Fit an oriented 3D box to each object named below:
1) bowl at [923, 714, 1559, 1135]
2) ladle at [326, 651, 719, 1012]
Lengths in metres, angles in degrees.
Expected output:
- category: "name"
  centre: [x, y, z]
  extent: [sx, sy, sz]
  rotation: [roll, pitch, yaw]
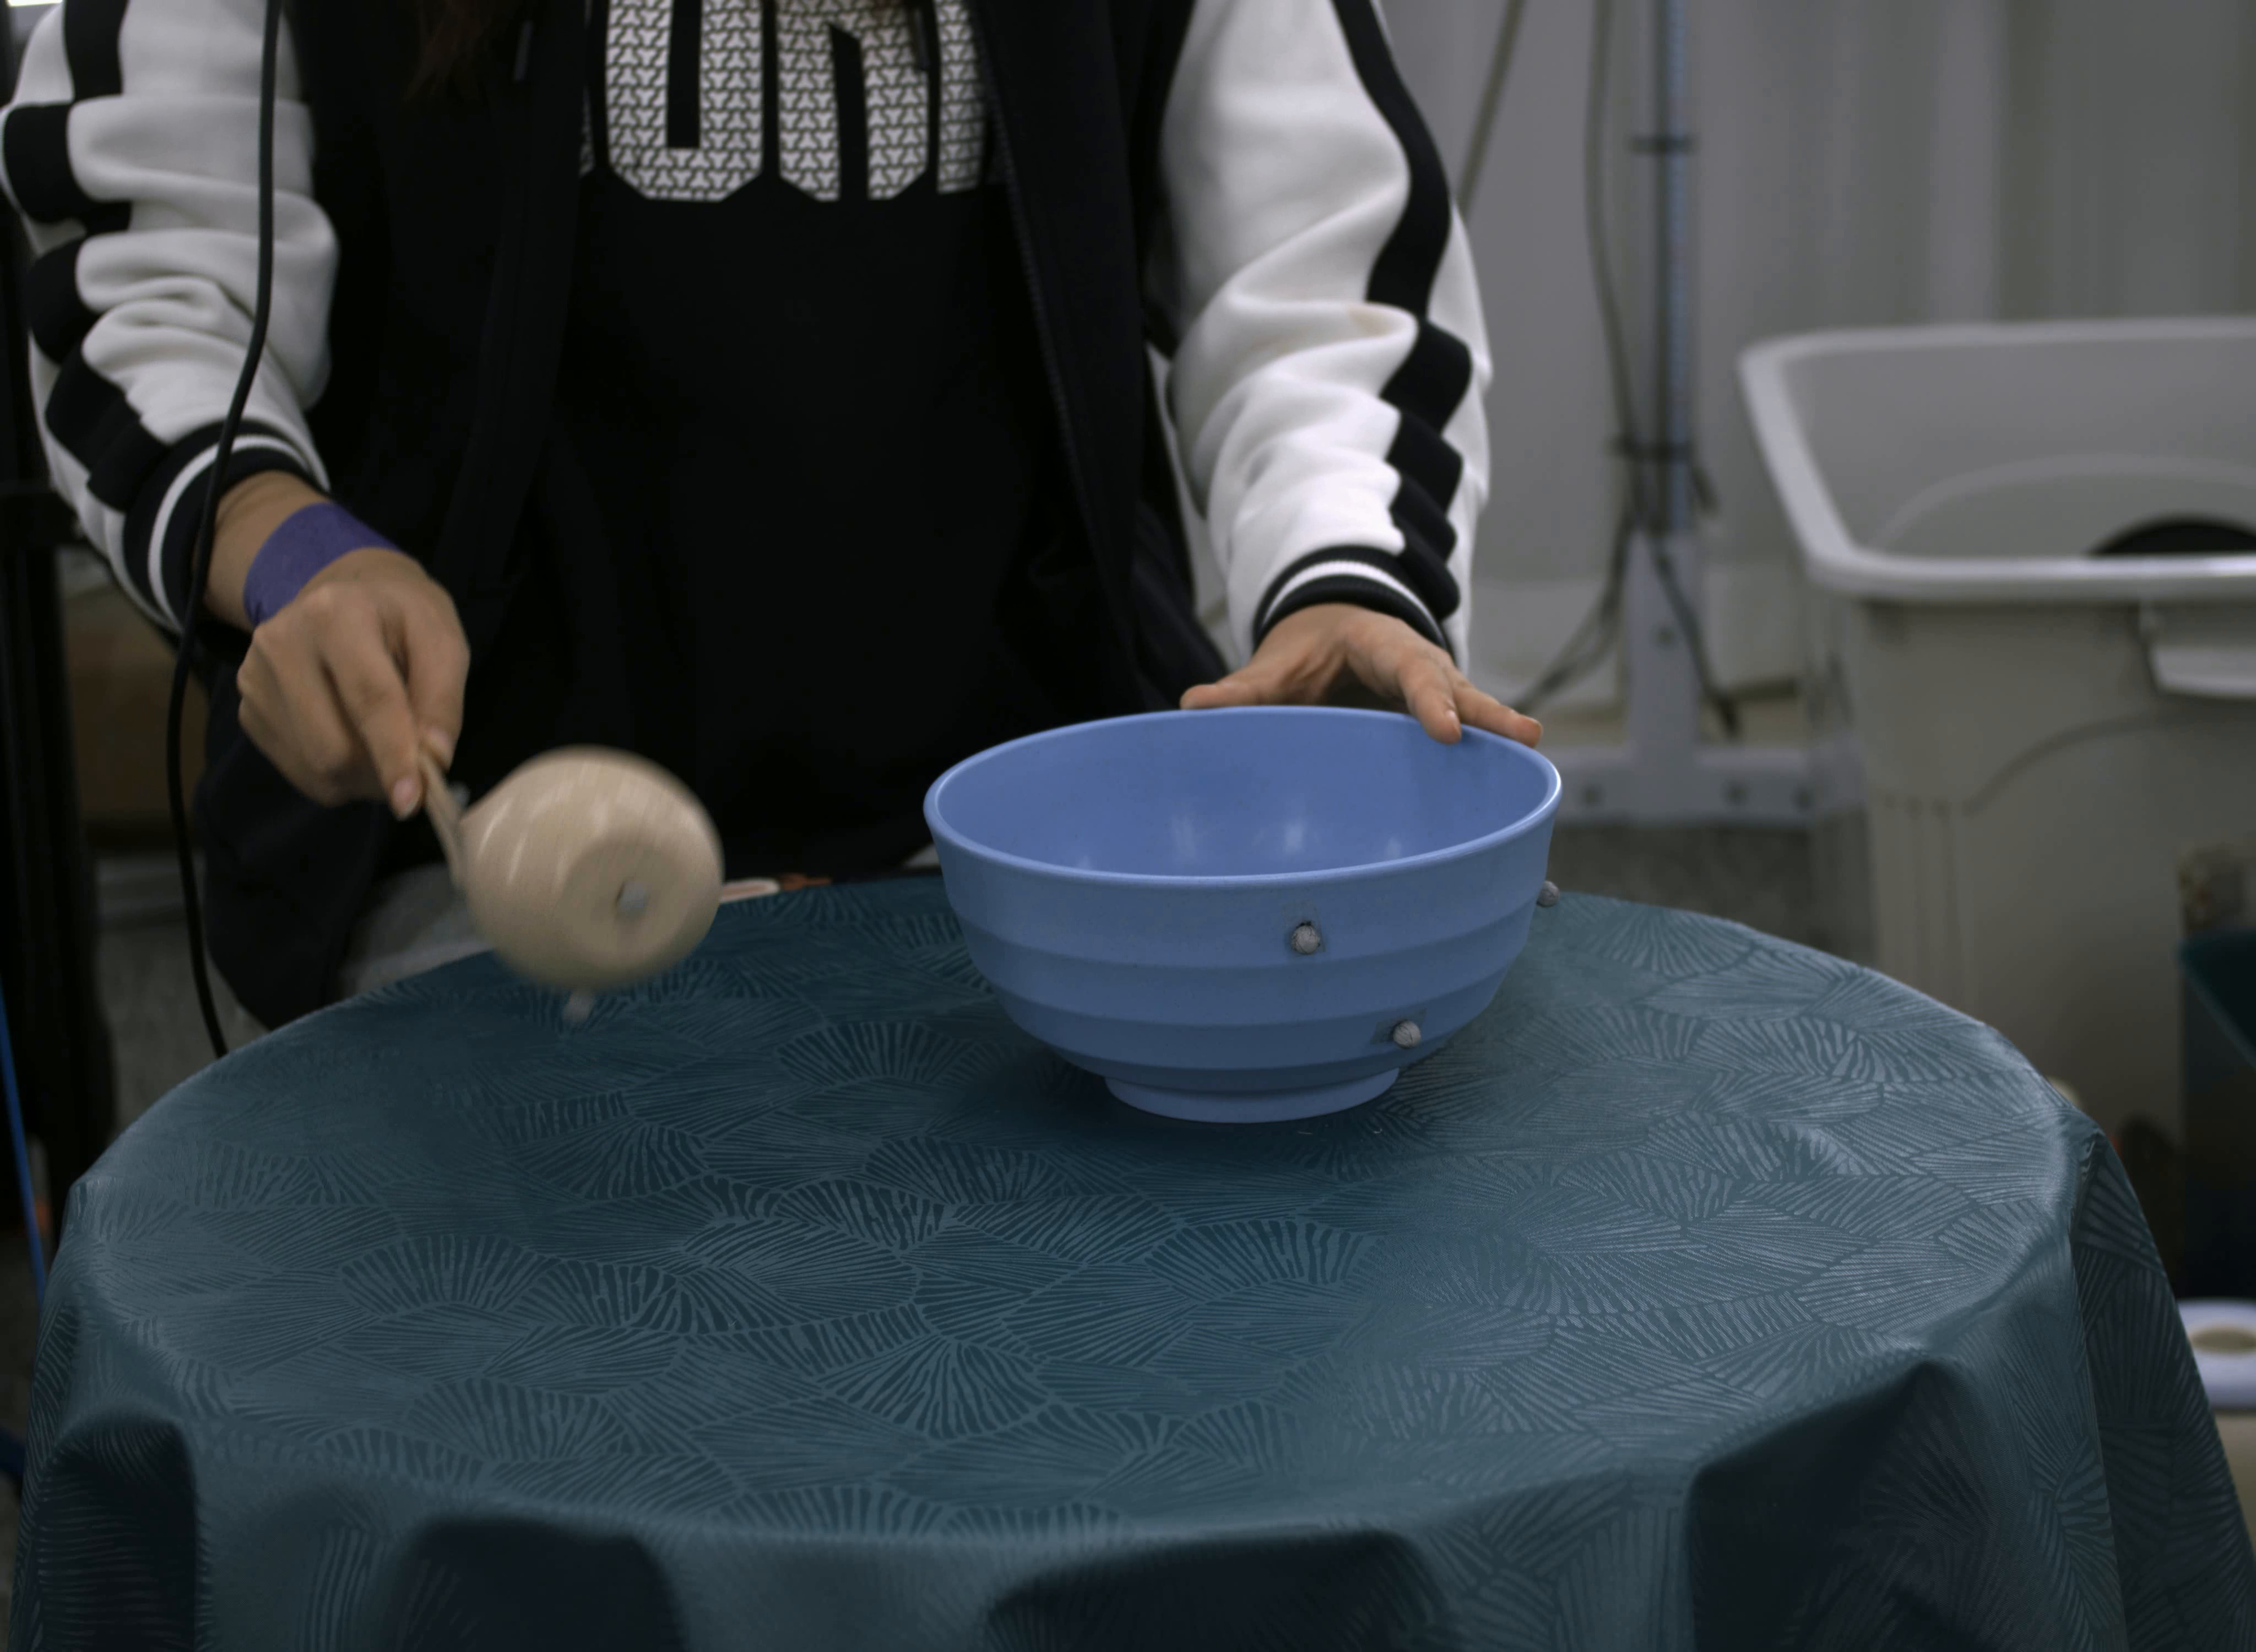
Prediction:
- category: "bowl"
  centre: [0.037, 0.036, 1.643]
  extent: [0.195, 0.095, 0.197]
  rotation: [-4, 16, 0]
- category: "ladle"
  centre: [-0.191, -0.014, 1.664]
  extent: [0.071, 0.072, 0.259]
  rotation: [-10, 23, -16]
